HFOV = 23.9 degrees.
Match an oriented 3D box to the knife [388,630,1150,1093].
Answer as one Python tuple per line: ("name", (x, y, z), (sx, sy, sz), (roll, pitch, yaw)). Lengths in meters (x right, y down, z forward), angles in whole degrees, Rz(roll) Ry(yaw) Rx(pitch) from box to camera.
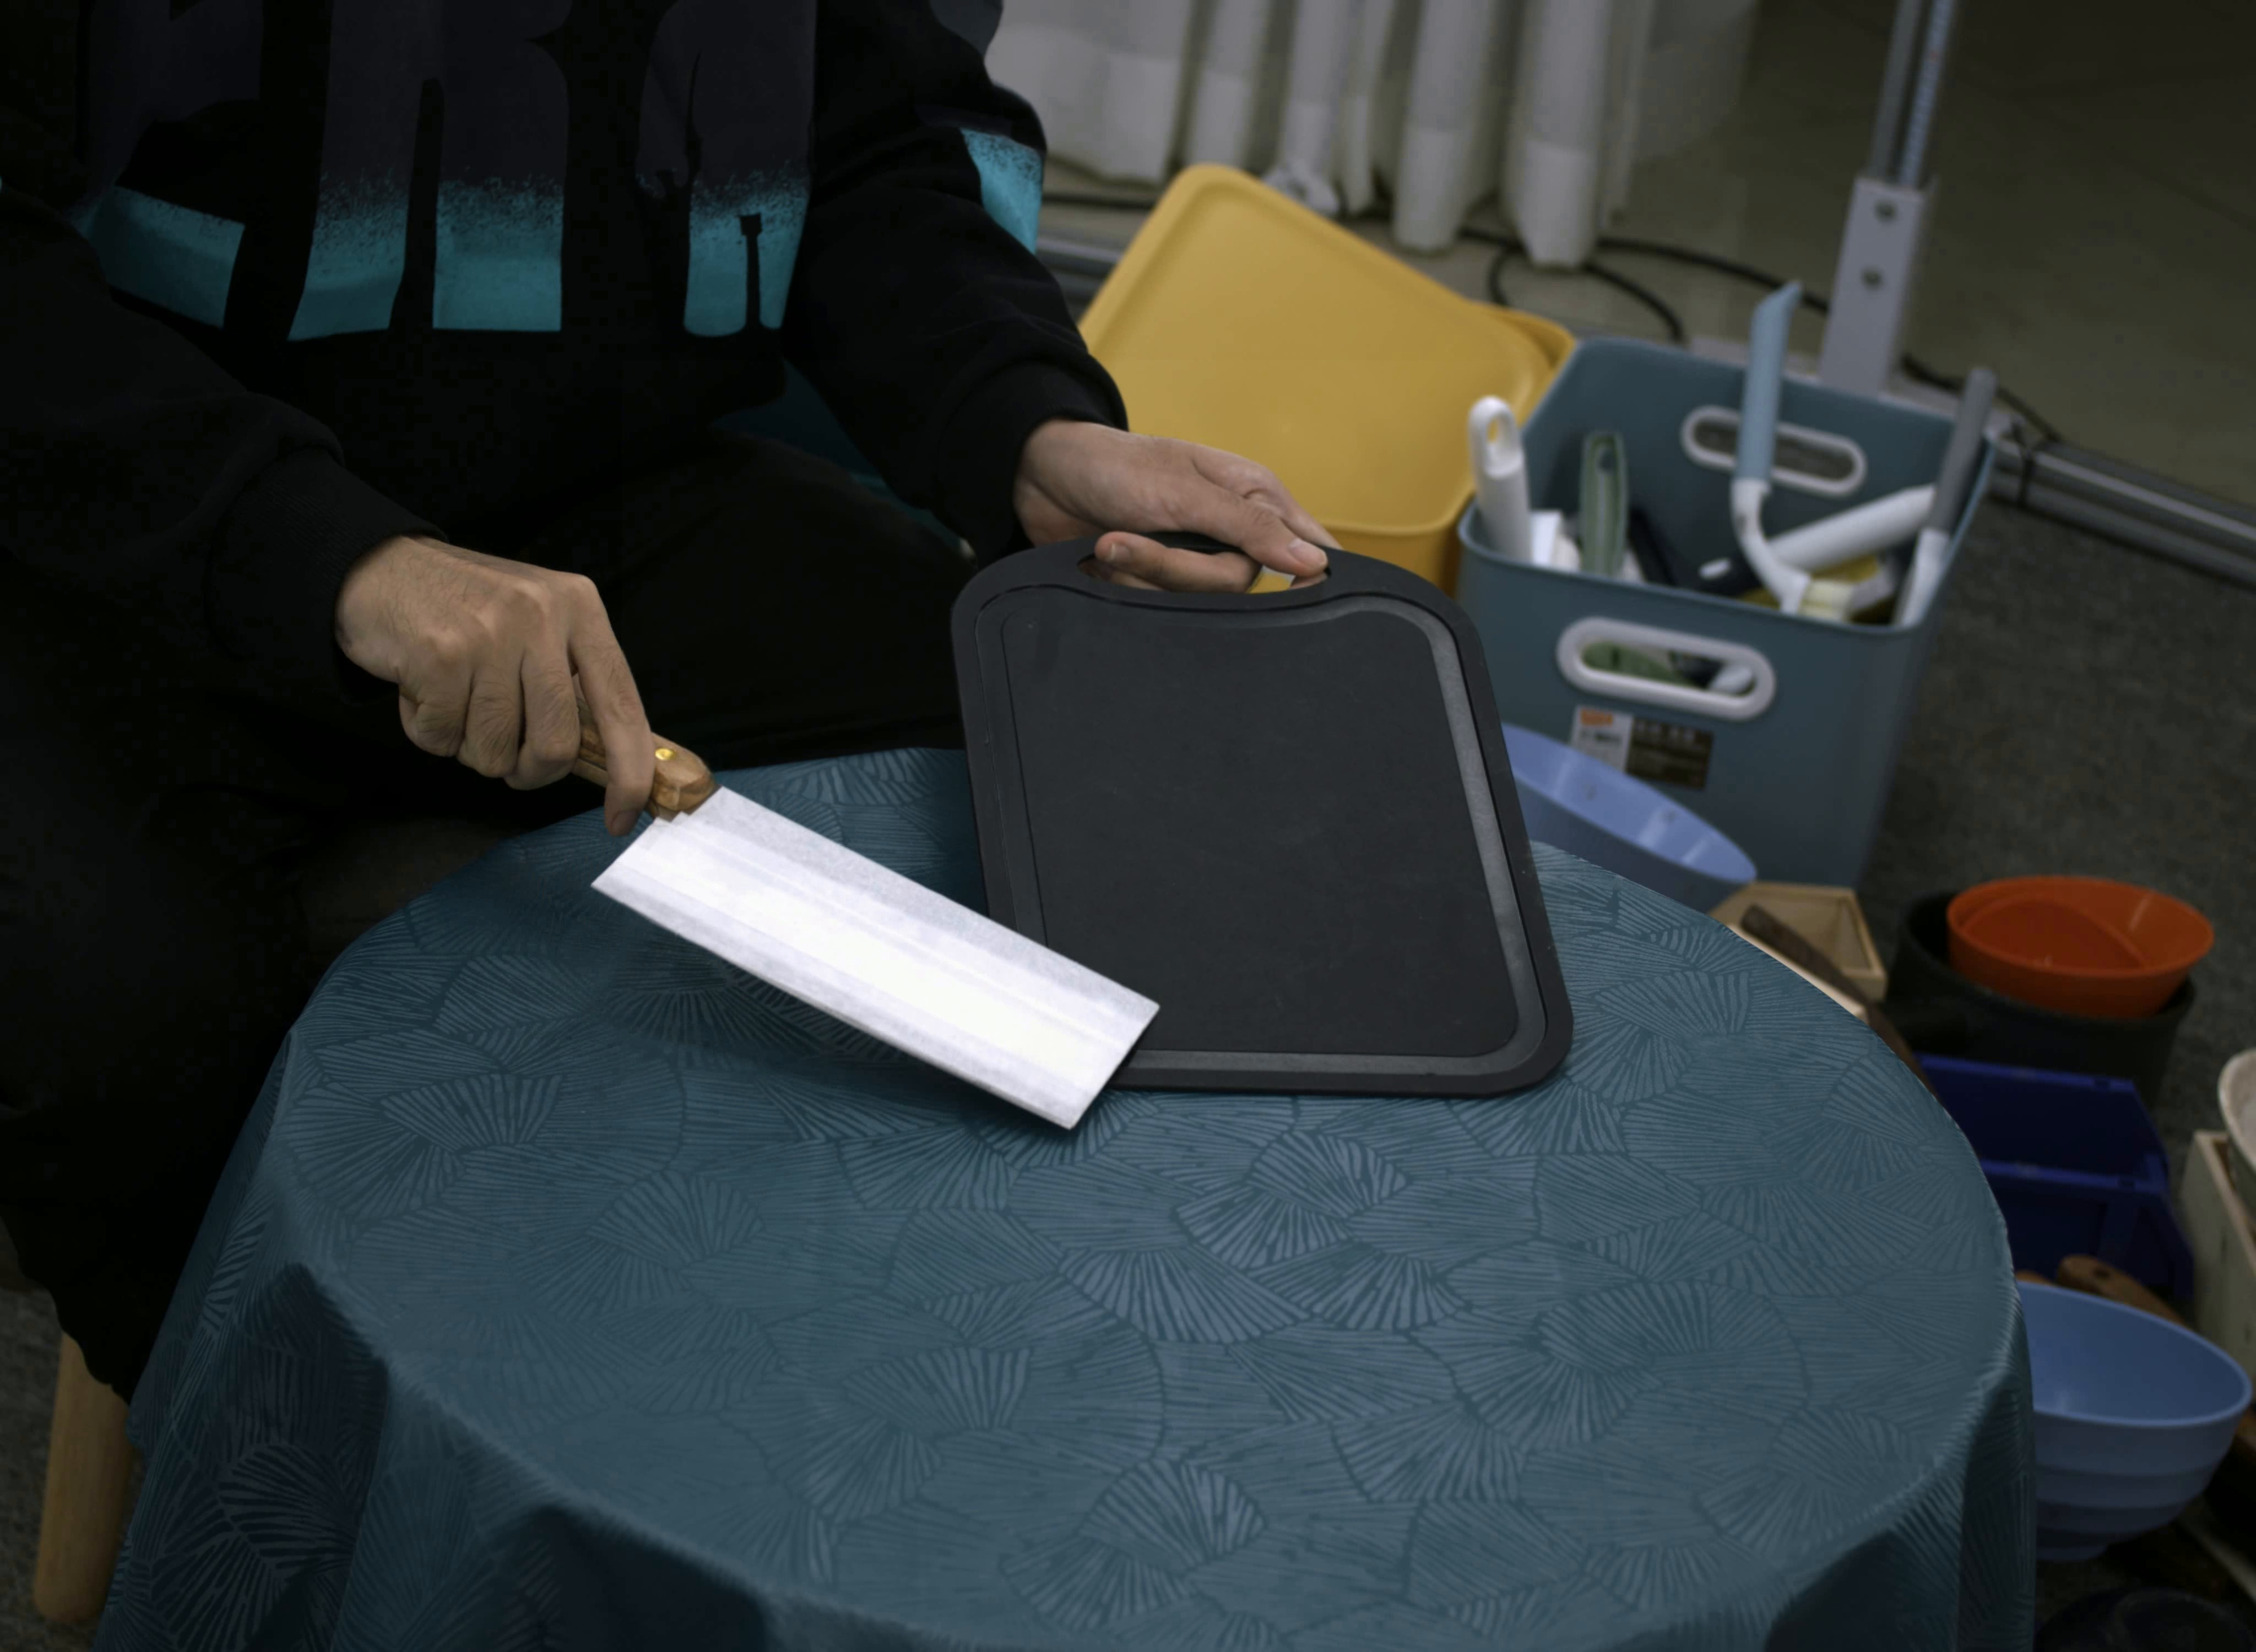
("knife", (-0.137, 0.016, 1.886), (0.306, 0.021, 0.093), (26, 33, 9))

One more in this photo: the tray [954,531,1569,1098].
("tray", (0.045, -0.012, 1.995), (0.210, 0.010, 0.328), (2, 40, -8))
